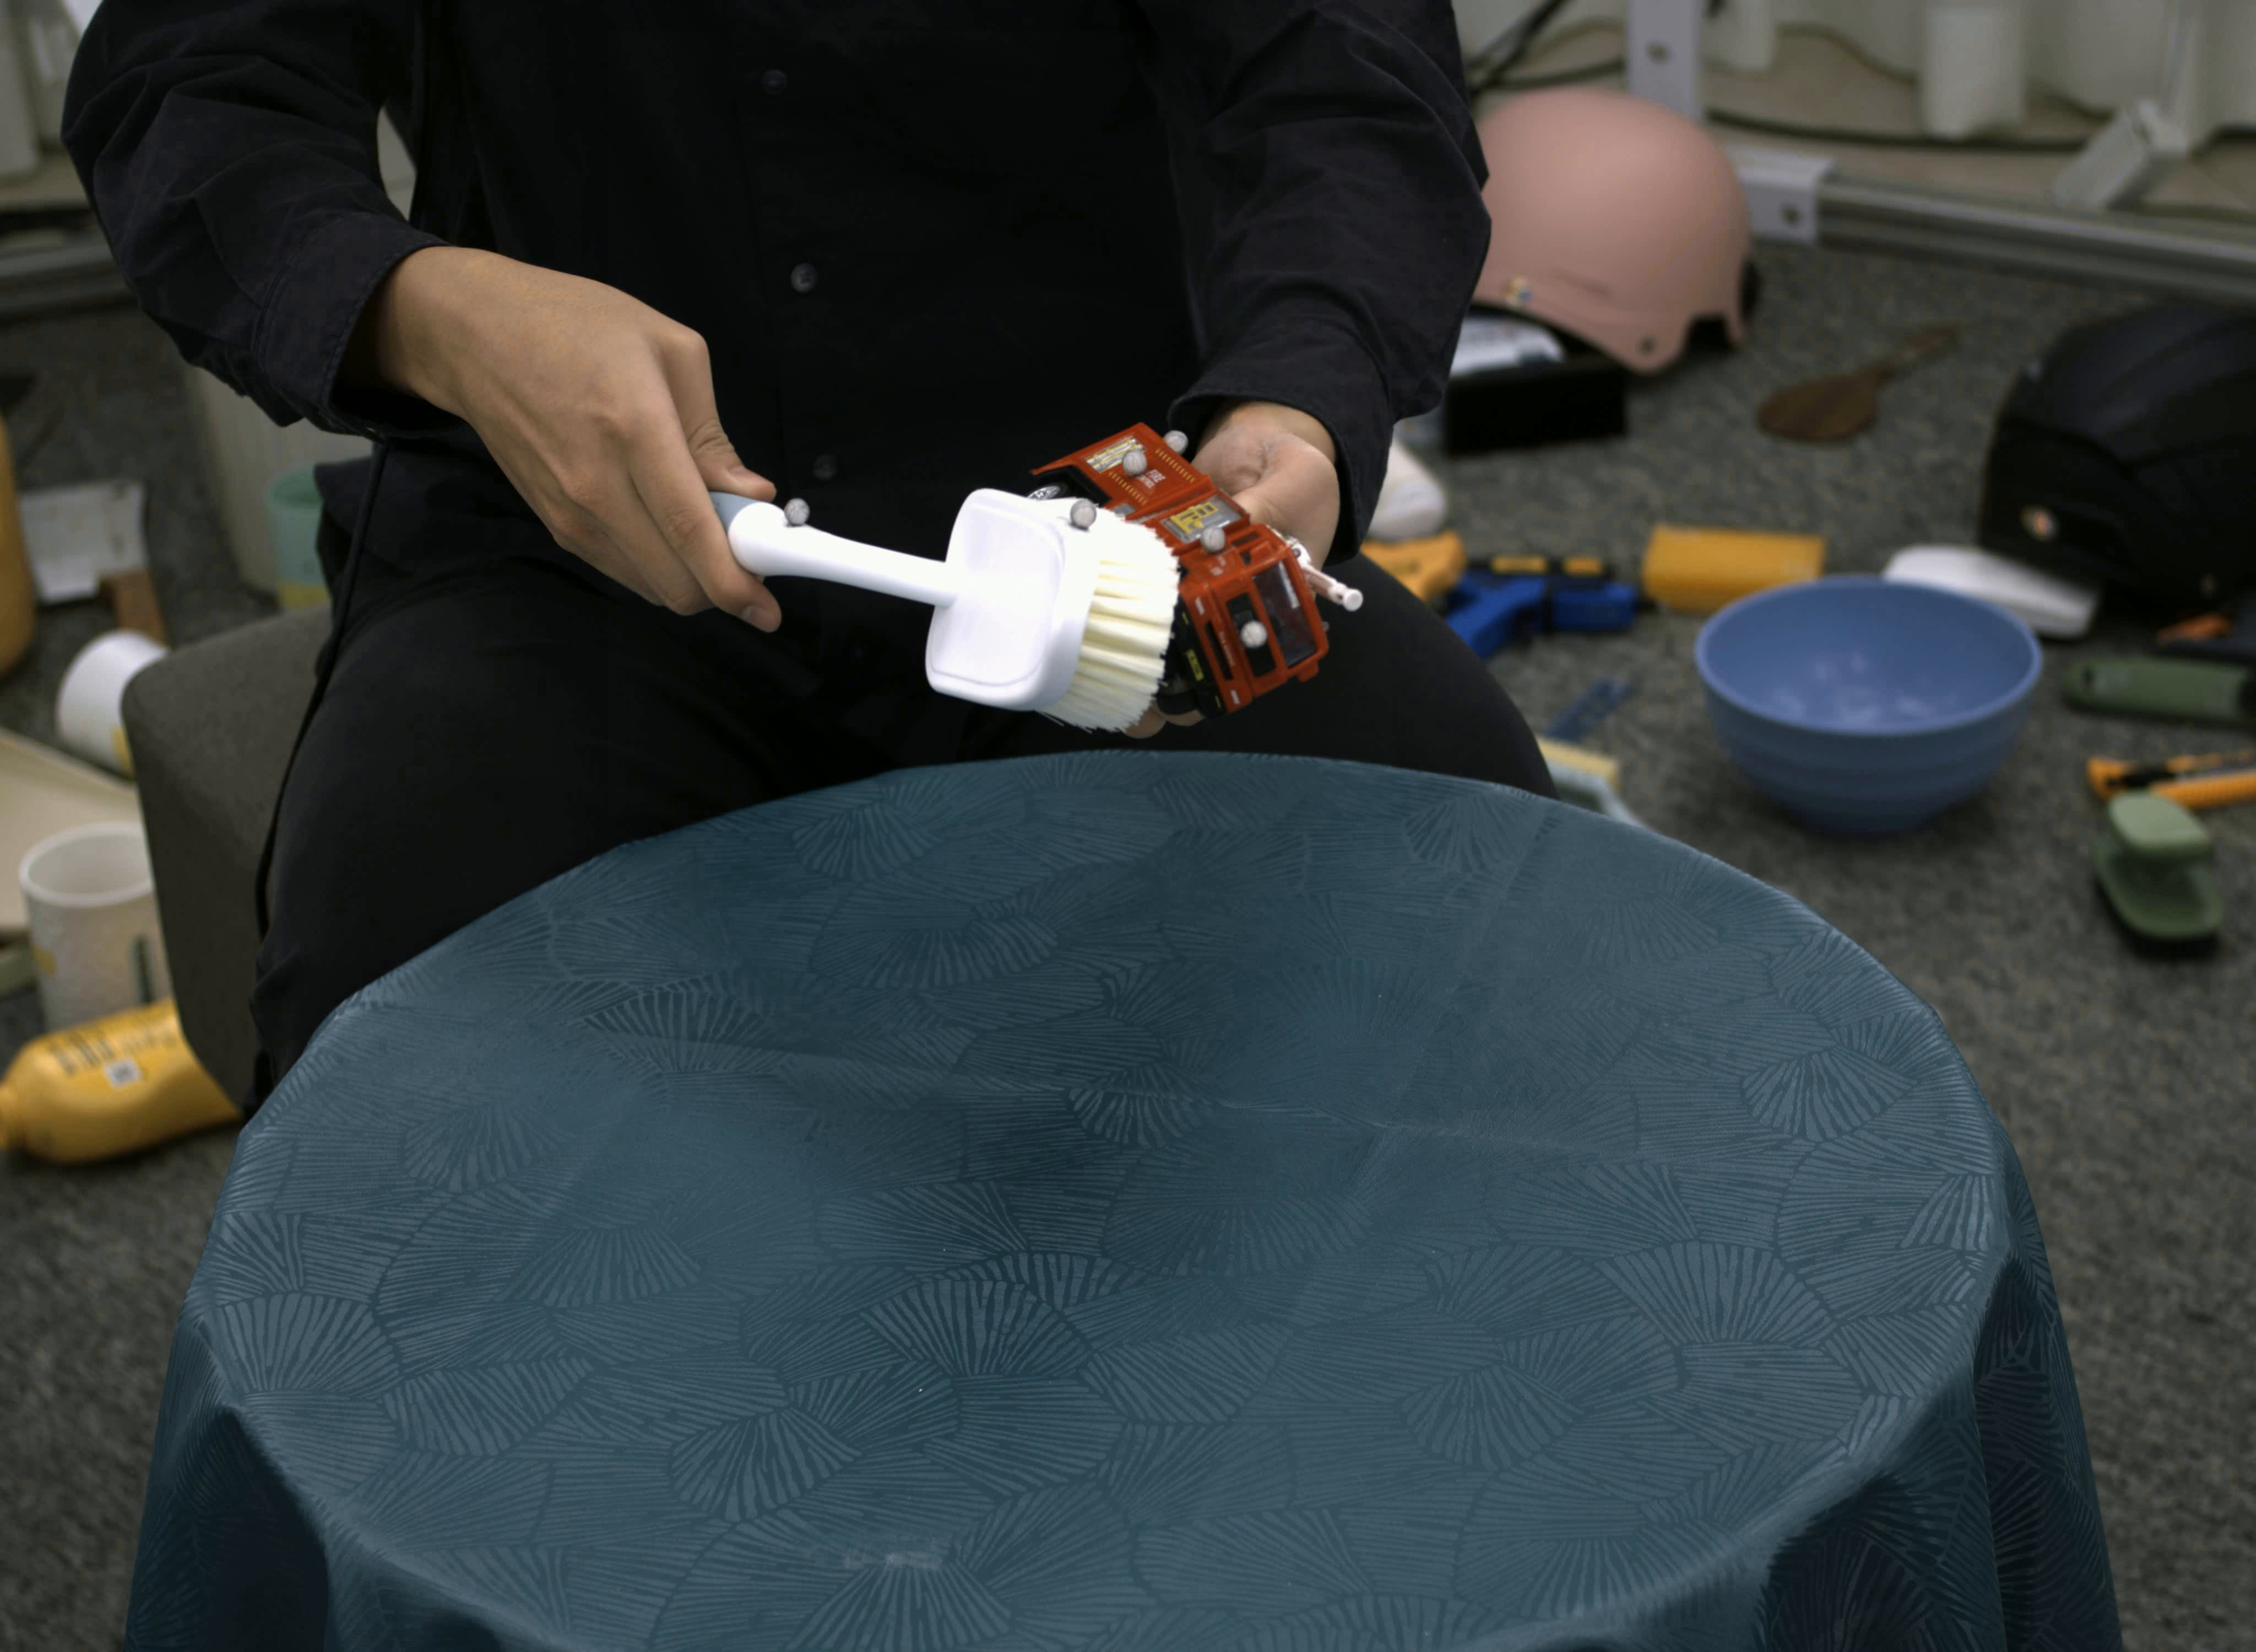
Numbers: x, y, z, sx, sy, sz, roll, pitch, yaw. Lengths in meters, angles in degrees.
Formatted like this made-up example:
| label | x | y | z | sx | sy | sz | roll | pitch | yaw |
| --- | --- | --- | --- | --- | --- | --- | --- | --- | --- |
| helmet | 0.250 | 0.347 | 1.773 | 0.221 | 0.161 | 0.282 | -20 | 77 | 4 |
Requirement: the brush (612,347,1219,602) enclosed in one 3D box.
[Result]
| label | x | y | z | sx | sy | sz | roll | pitch | yaw |
| --- | --- | --- | --- | --- | --- | --- | --- | --- | --- |
| brush | -0.058 | -0.128 | 1.865 | 0.084 | 0.084 | 0.324 | -46 | 31 | -17 |

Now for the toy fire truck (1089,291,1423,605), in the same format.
| label | x | y | z | sx | sy | sz | roll | pitch | yaw |
| --- | --- | --- | --- | --- | --- | --- | --- | --- | --- |
| toy fire truck | 0.036 | -0.124 | 1.812 | 0.070 | 0.053 | 0.169 | -26 | 24 | -9 |
